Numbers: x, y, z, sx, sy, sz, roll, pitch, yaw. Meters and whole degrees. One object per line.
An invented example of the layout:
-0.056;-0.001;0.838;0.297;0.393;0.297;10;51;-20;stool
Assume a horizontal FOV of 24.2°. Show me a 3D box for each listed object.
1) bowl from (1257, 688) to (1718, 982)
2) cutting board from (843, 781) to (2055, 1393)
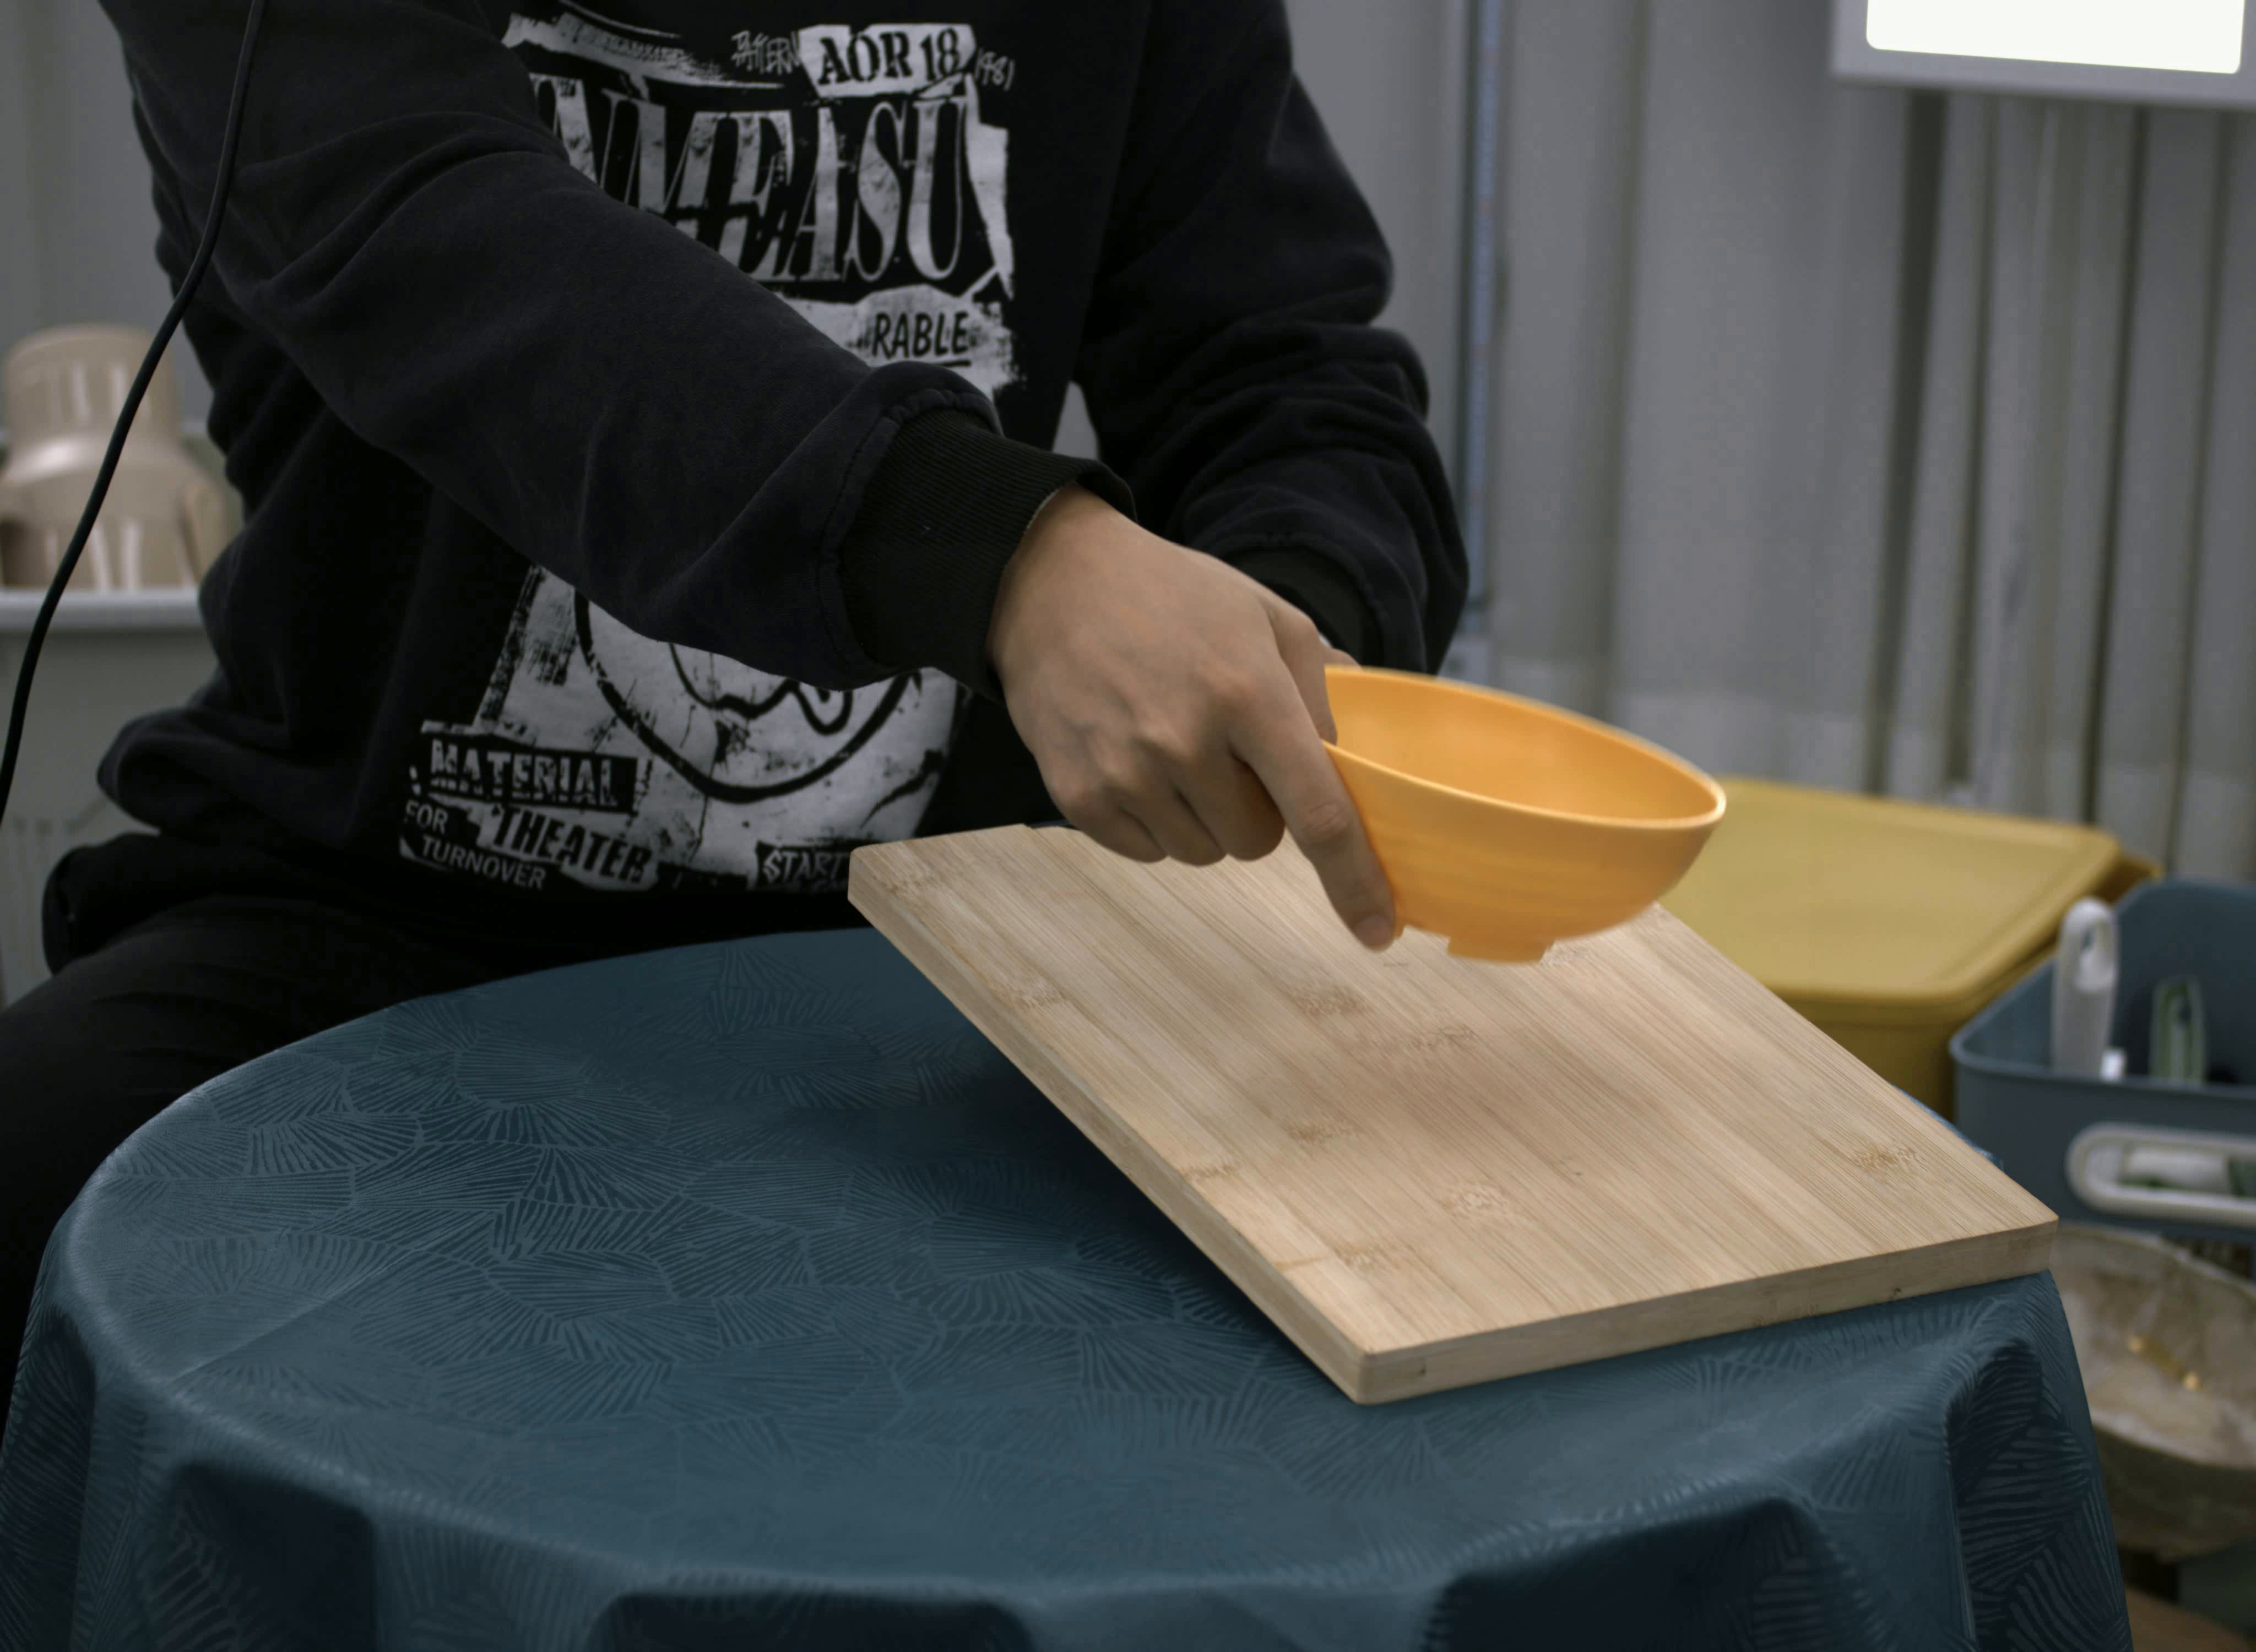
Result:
0.100;0.008;1.580;0.145;0.060;0.145;15;10;-2;bowl
0.090;0.068;1.643;0.252;0.024;0.344;-8;29;-29;cutting board
